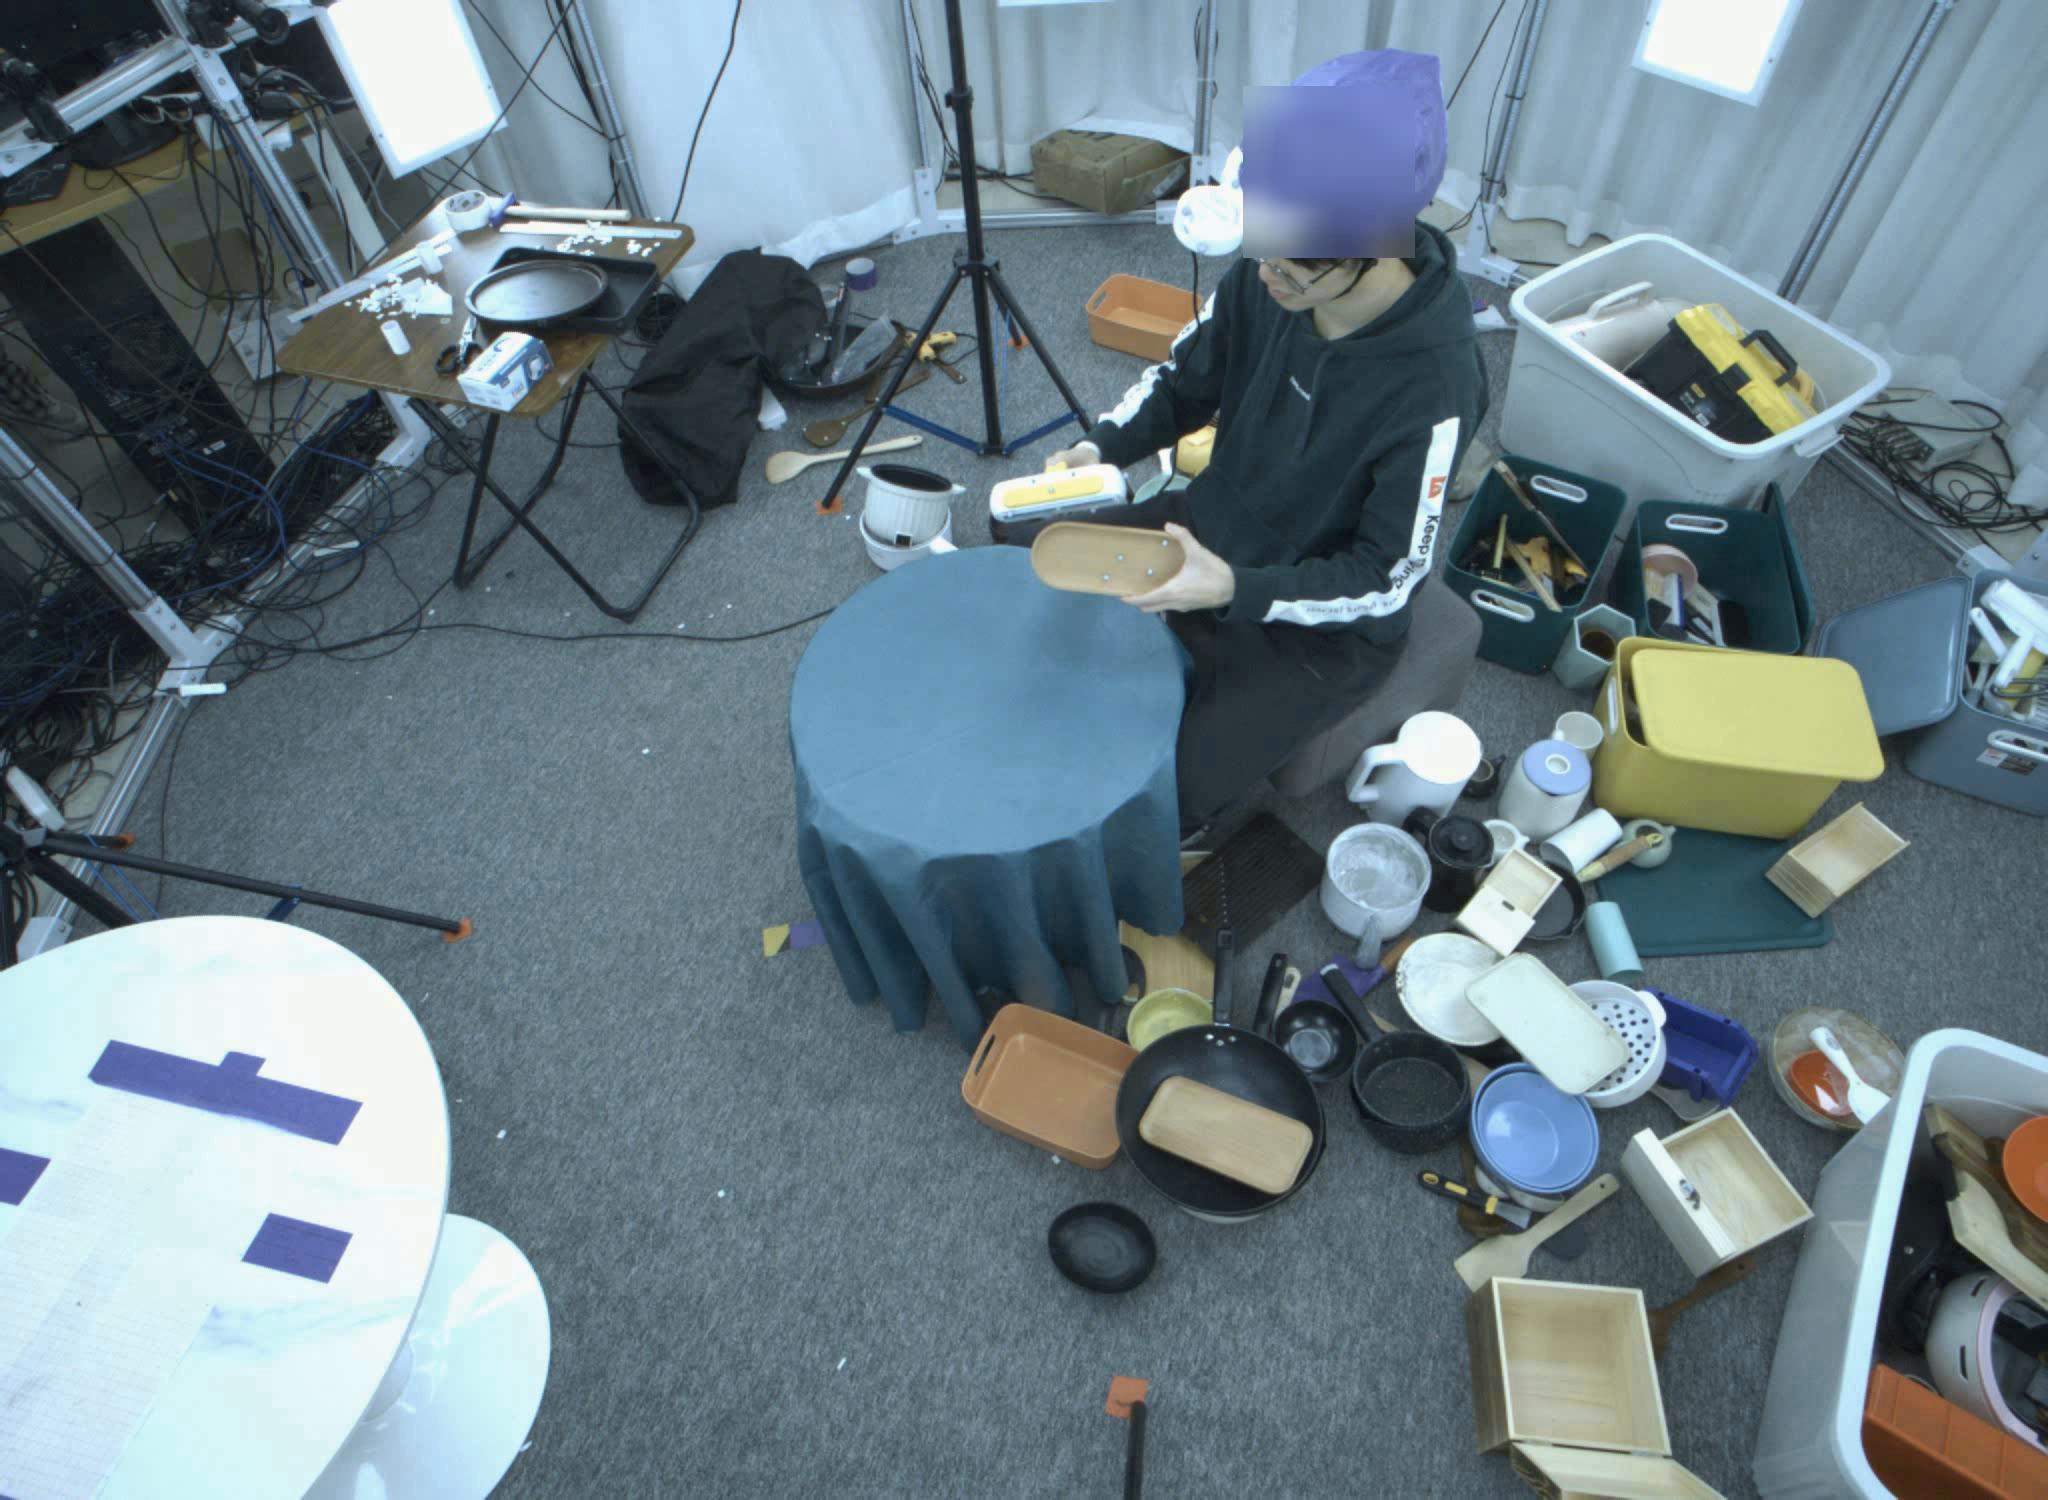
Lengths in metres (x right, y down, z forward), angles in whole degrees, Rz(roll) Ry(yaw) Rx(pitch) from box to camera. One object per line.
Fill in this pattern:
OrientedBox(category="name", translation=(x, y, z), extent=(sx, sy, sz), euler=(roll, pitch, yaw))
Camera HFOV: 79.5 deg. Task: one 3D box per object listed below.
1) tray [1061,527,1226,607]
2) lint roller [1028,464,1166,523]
OrientedBox(category="tray", translation=(0.167, -0.258, 1.725), extent=(0.231, 0.102, 0.020), euler=(7, 28, 0))
OrientedBox(category="lint roller", translation=(0.110, -0.366, 1.758), extent=(0.191, 0.193, 0.074), euler=(-11, 93, 12))
